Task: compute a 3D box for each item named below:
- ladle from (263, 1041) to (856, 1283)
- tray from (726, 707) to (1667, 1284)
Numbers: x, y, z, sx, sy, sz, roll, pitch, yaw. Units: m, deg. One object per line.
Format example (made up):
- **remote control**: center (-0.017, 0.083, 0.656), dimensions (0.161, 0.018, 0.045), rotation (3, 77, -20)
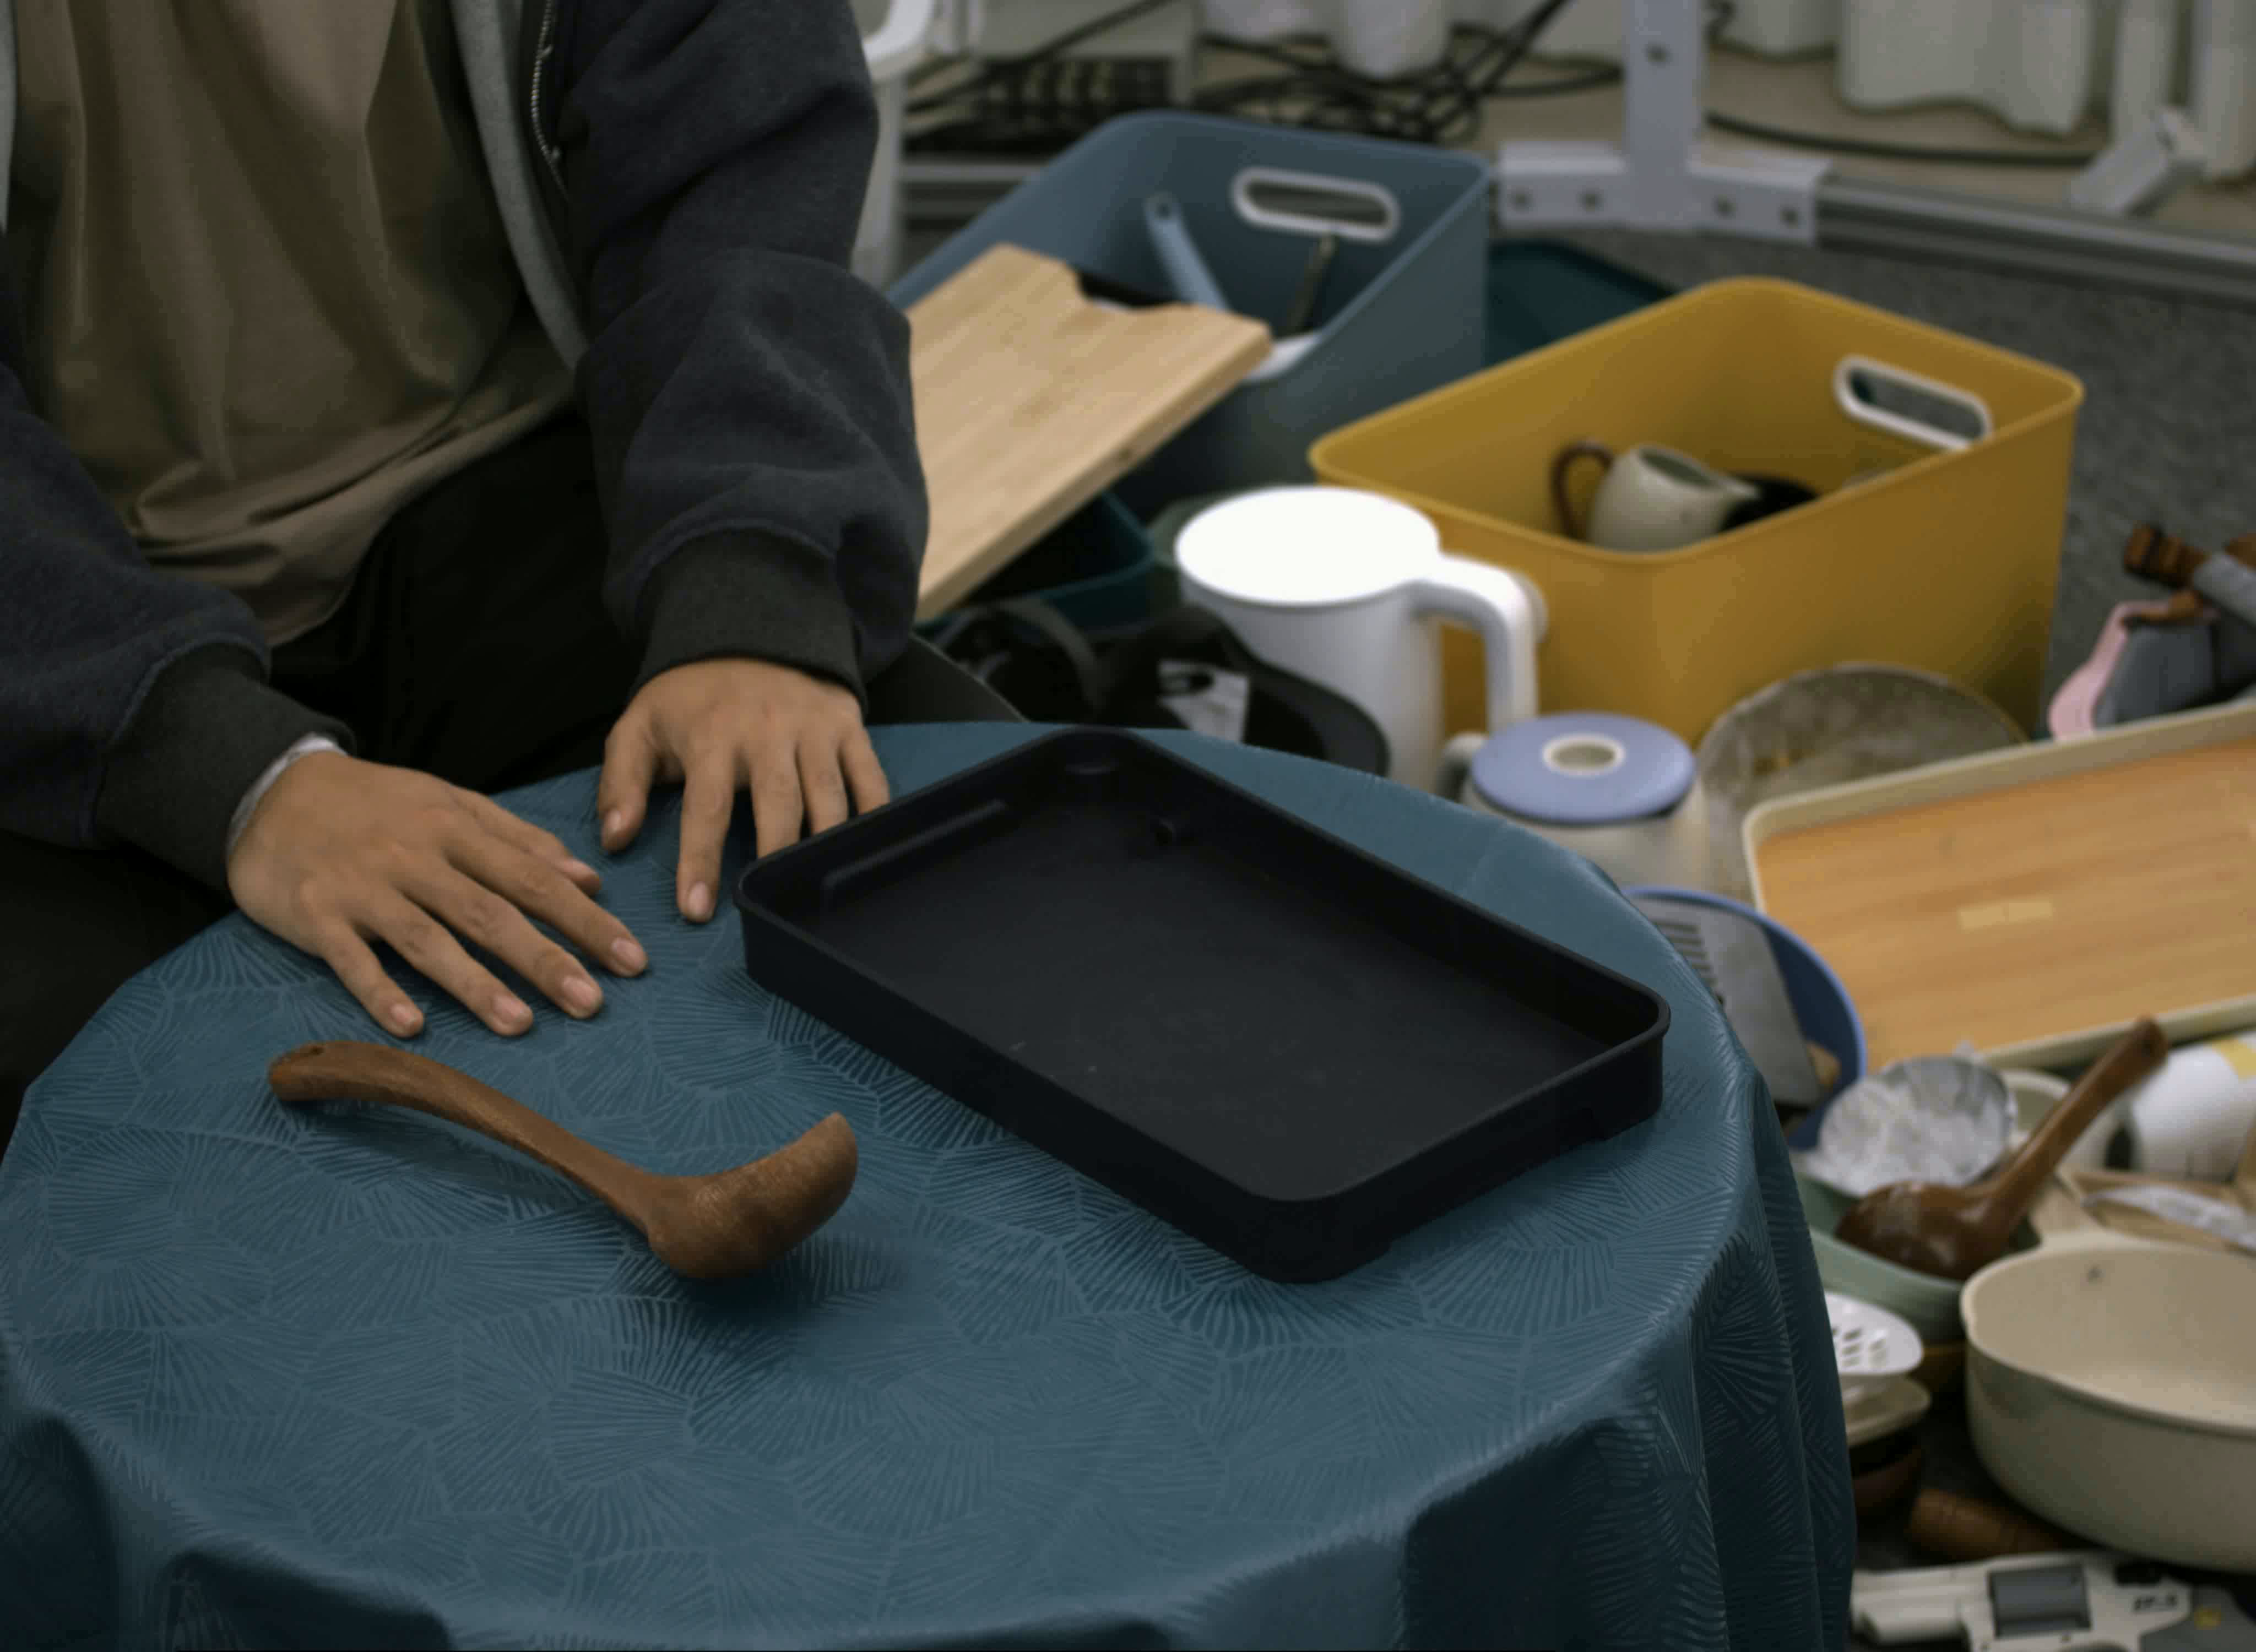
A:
- **ladle**: center (-0.196, 0.095, 1.863), dimensions (0.259, 0.064, 0.077), rotation (18, 34, 35)
- **tray**: center (0.020, 0.053, 1.948), dimensions (0.186, 0.036, 0.318), rotation (-23, 35, -34)
